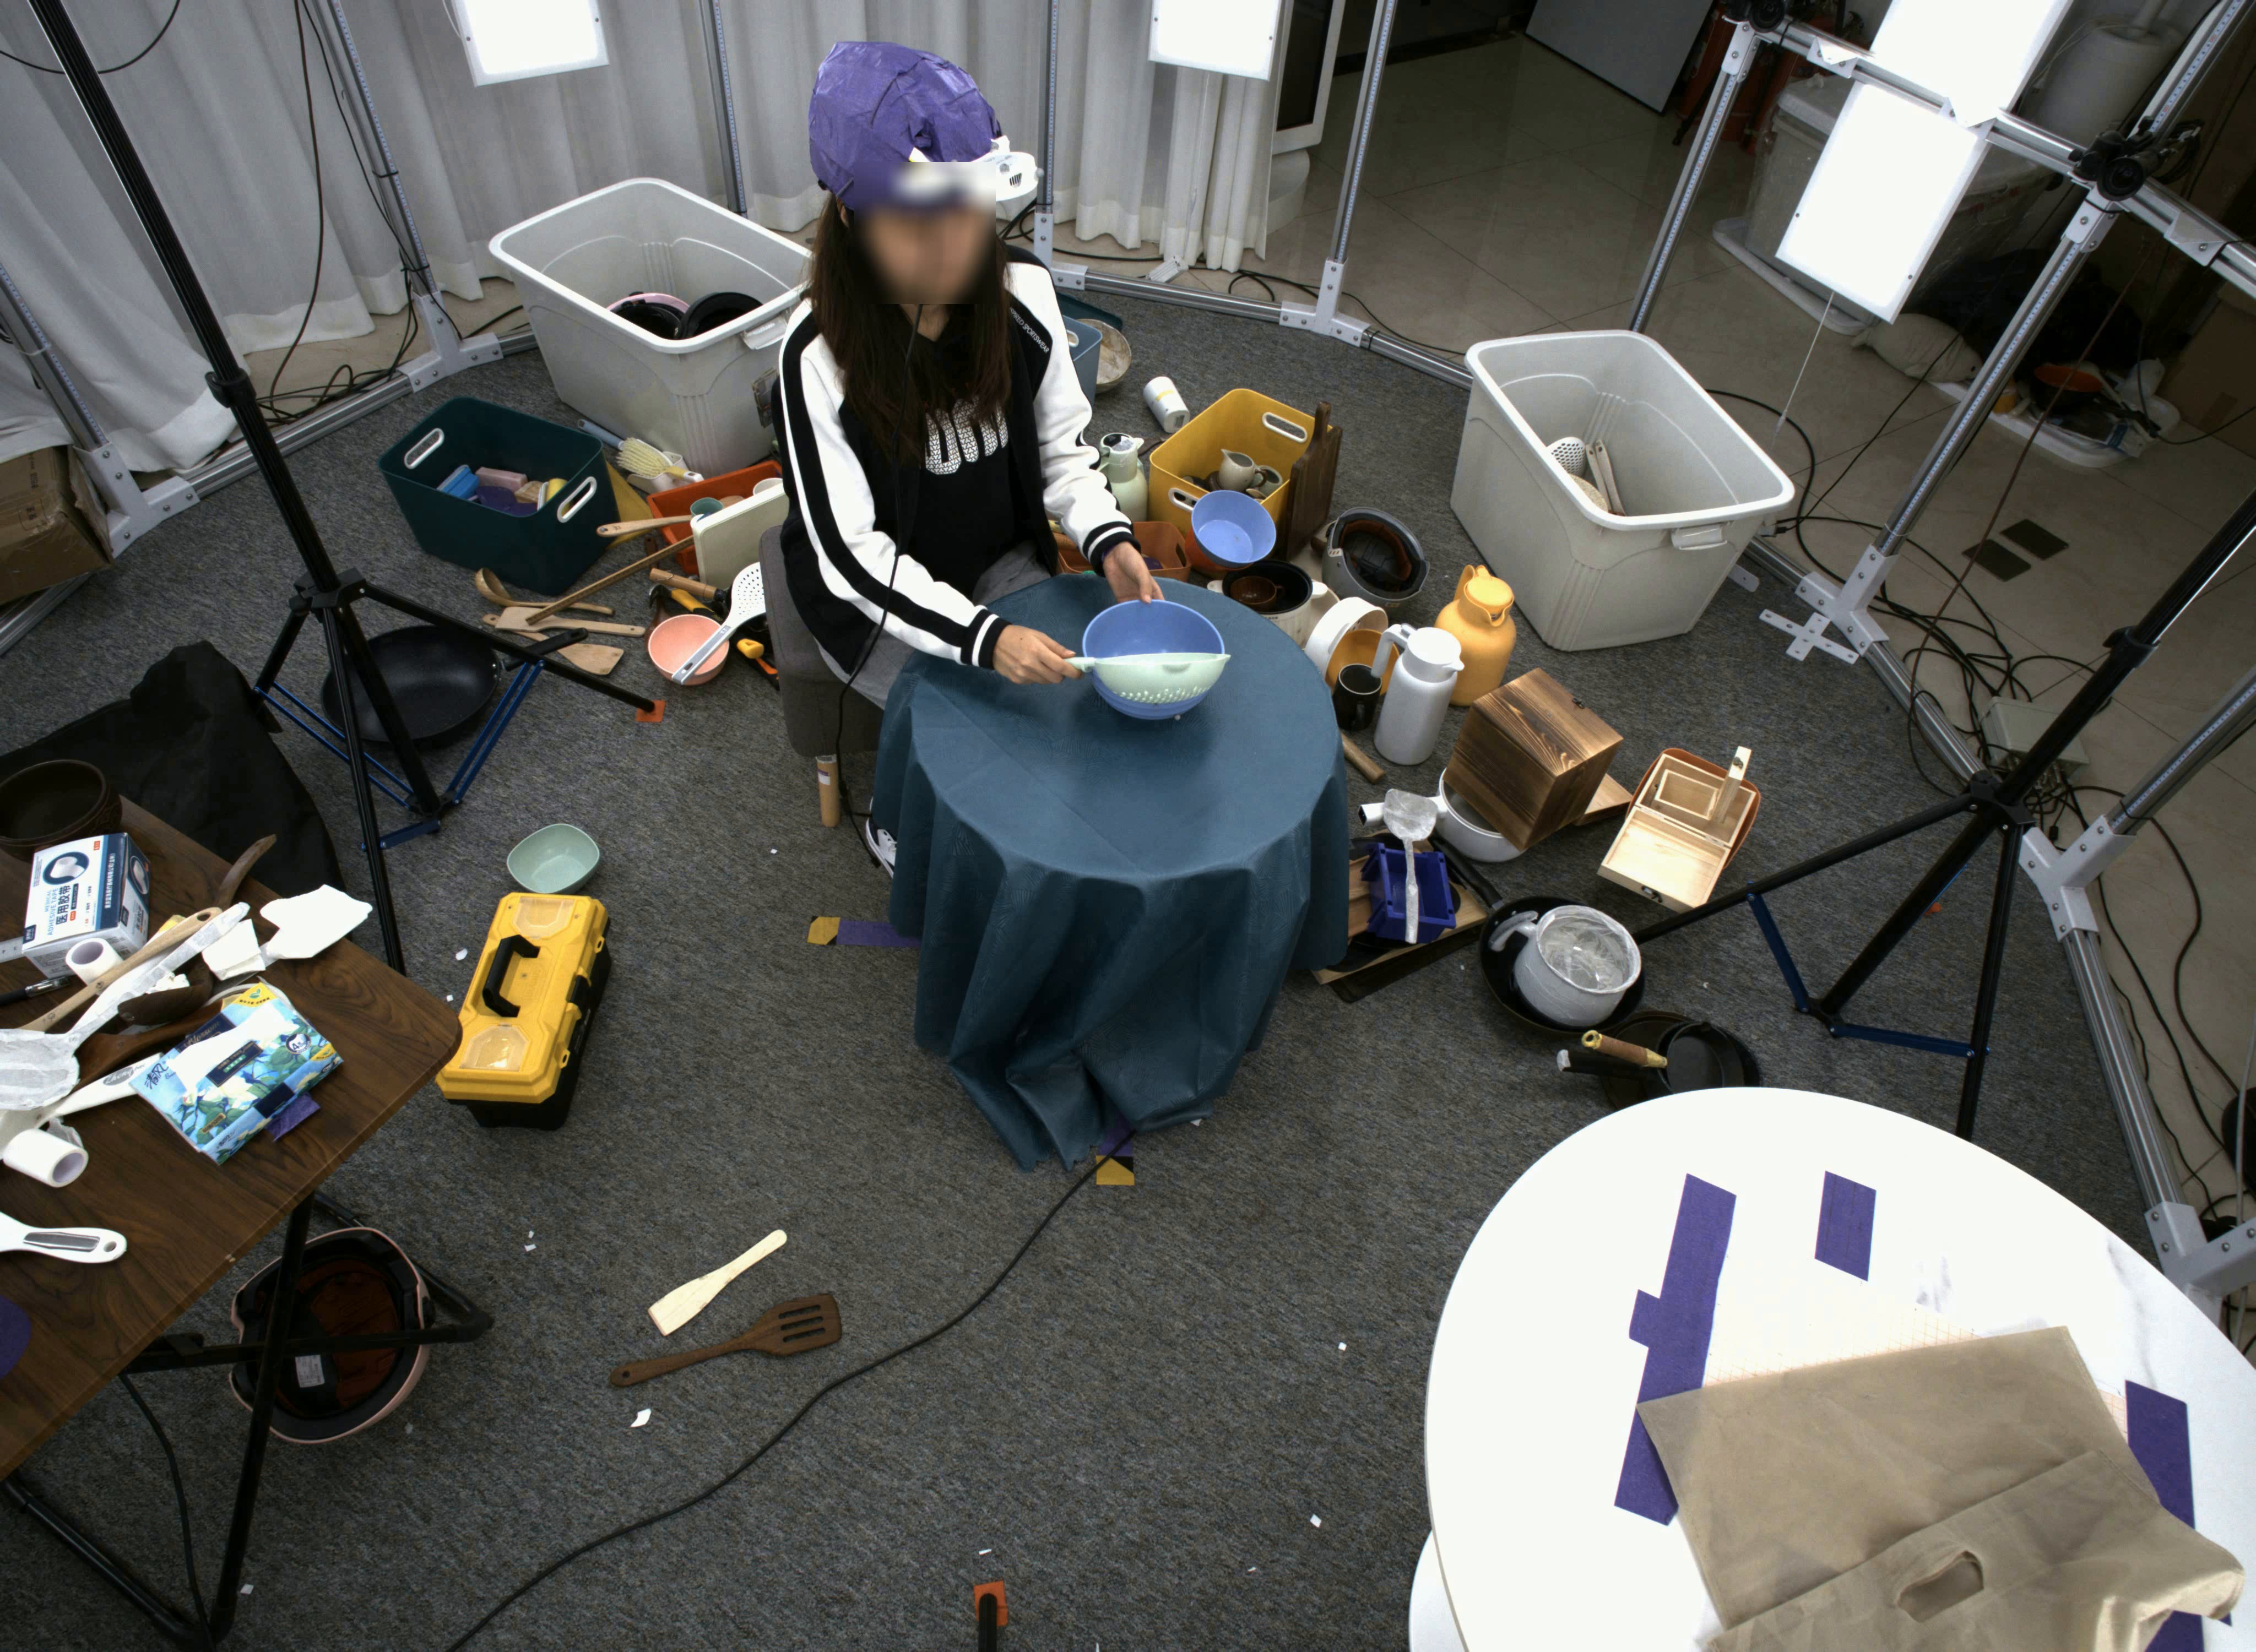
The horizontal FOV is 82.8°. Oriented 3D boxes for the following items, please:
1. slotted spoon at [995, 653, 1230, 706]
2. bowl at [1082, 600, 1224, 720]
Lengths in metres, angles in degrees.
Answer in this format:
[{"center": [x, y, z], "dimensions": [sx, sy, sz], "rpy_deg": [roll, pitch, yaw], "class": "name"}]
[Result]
[{"center": [-0.038, -0.207, 1.711], "dimensions": [0.362, 0.074, 0.170], "rpy_deg": [13, 18, 33], "class": "slotted spoon"}, {"center": [0.032, -0.217, 1.799], "dimensions": [0.196, 0.093, 0.201], "rpy_deg": [2, 49, -2], "class": "bowl"}]
